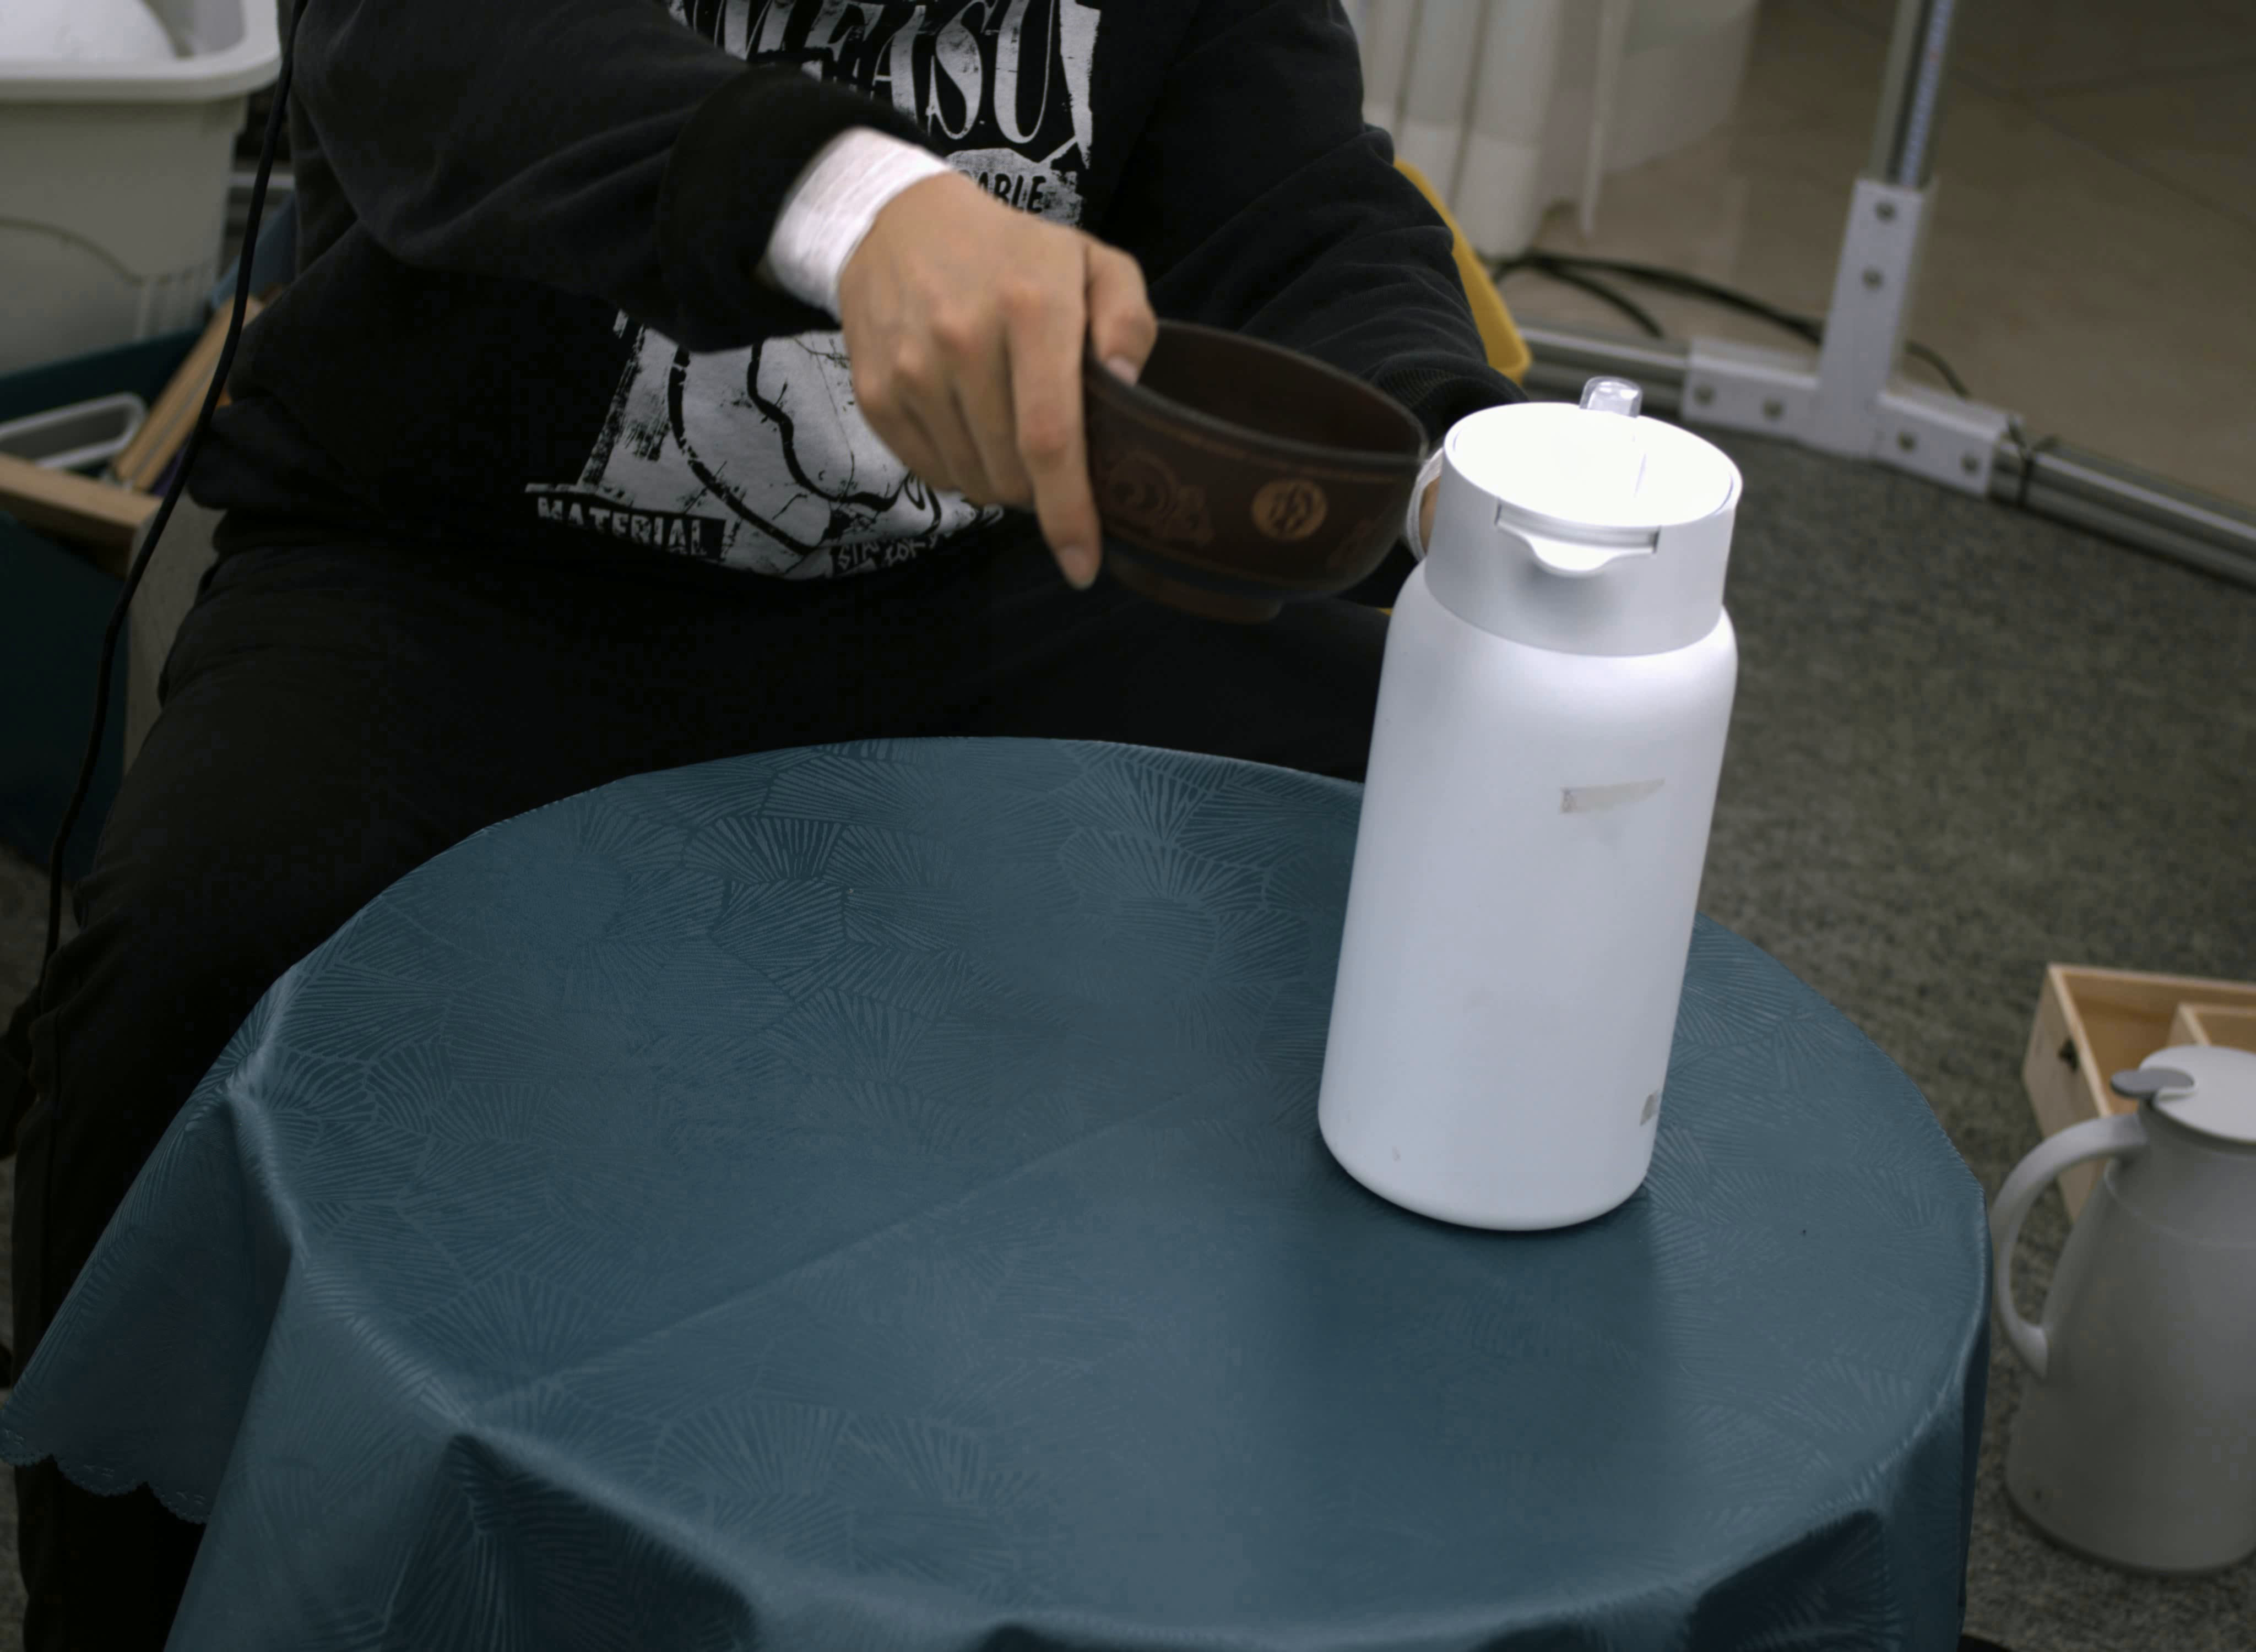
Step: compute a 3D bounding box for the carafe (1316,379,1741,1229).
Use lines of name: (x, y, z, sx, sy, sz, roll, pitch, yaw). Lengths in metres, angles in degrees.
carafe: (0.138, -0.011, 1.808, 0.124, 0.268, 0.173, 8, 27, 6)

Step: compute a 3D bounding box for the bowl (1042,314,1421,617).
bowl: (0.028, -0.108, 1.674, 0.117, 0.070, 0.118, 14, 19, -6)
